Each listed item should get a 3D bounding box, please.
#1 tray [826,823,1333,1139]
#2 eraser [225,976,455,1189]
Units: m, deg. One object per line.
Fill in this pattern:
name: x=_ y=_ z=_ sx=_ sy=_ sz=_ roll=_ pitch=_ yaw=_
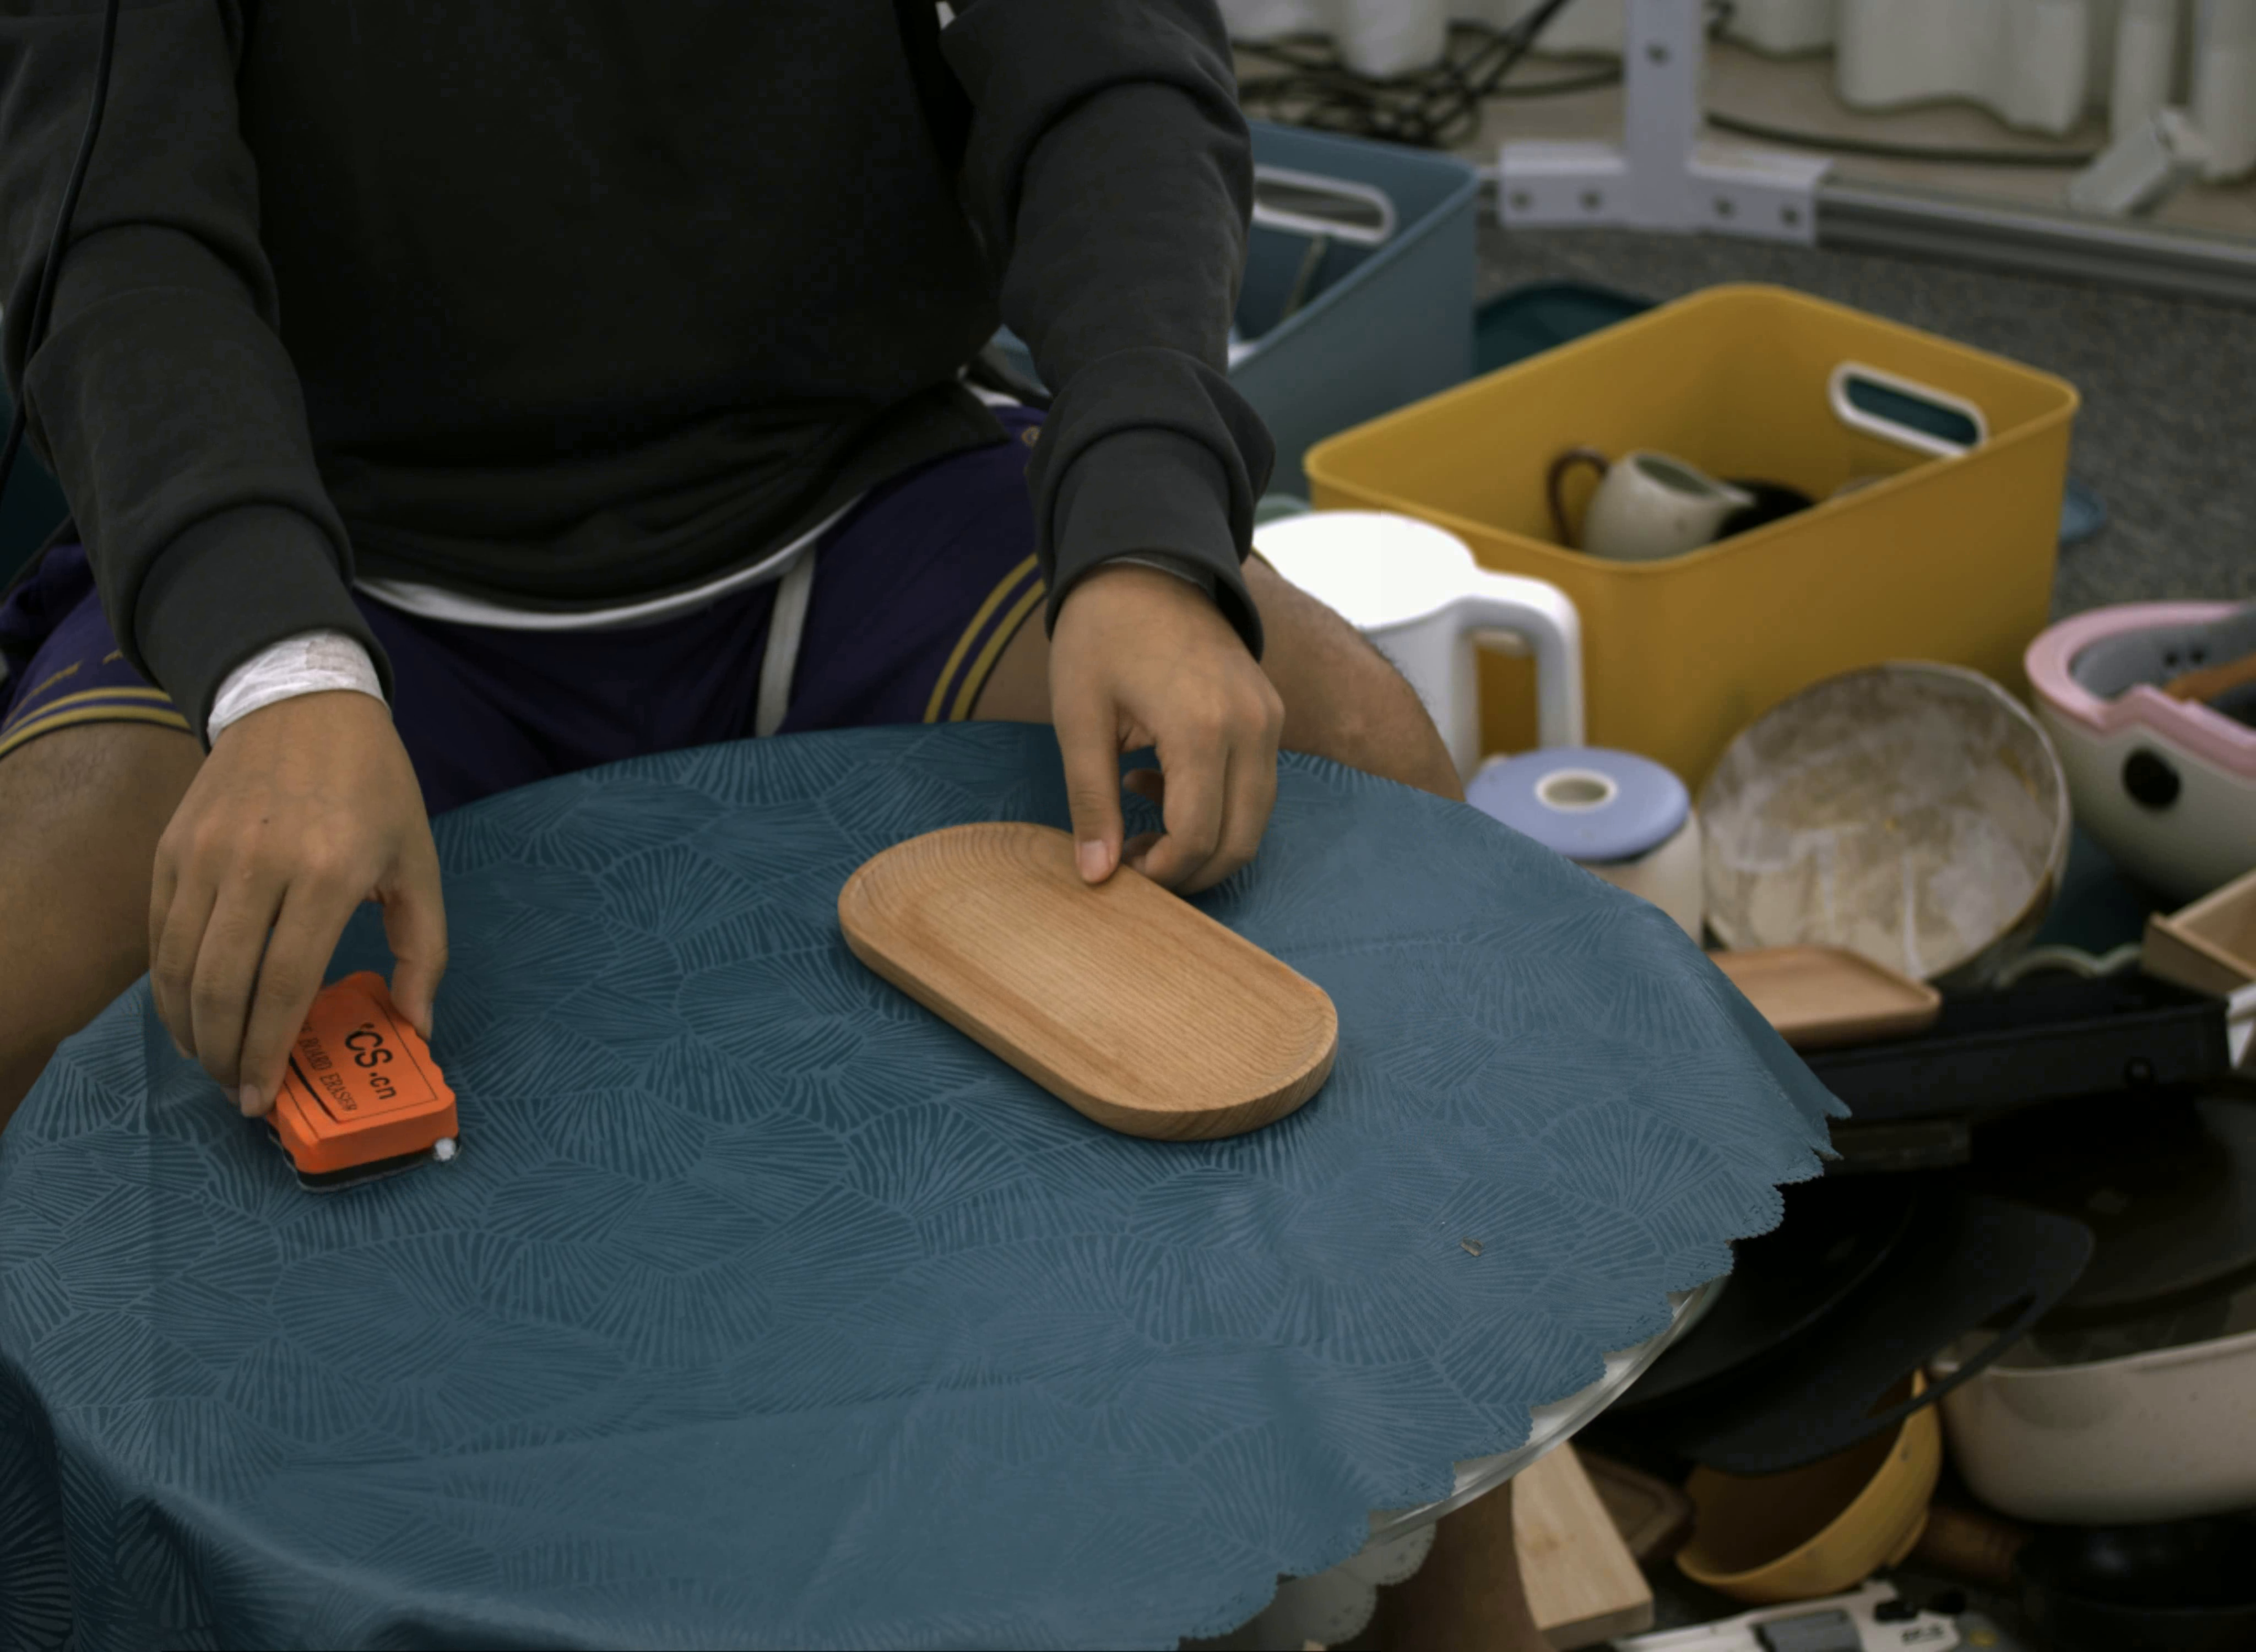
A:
tray: x=-0.019 y=0.053 z=1.976 sx=0.102 sy=0.020 sz=0.231 roll=-23 pitch=32 yaw=-30
eraser: x=-0.271 y=0.088 z=1.928 sx=0.059 sy=0.023 sz=0.109 roll=13 pitch=18 yaw=-27
